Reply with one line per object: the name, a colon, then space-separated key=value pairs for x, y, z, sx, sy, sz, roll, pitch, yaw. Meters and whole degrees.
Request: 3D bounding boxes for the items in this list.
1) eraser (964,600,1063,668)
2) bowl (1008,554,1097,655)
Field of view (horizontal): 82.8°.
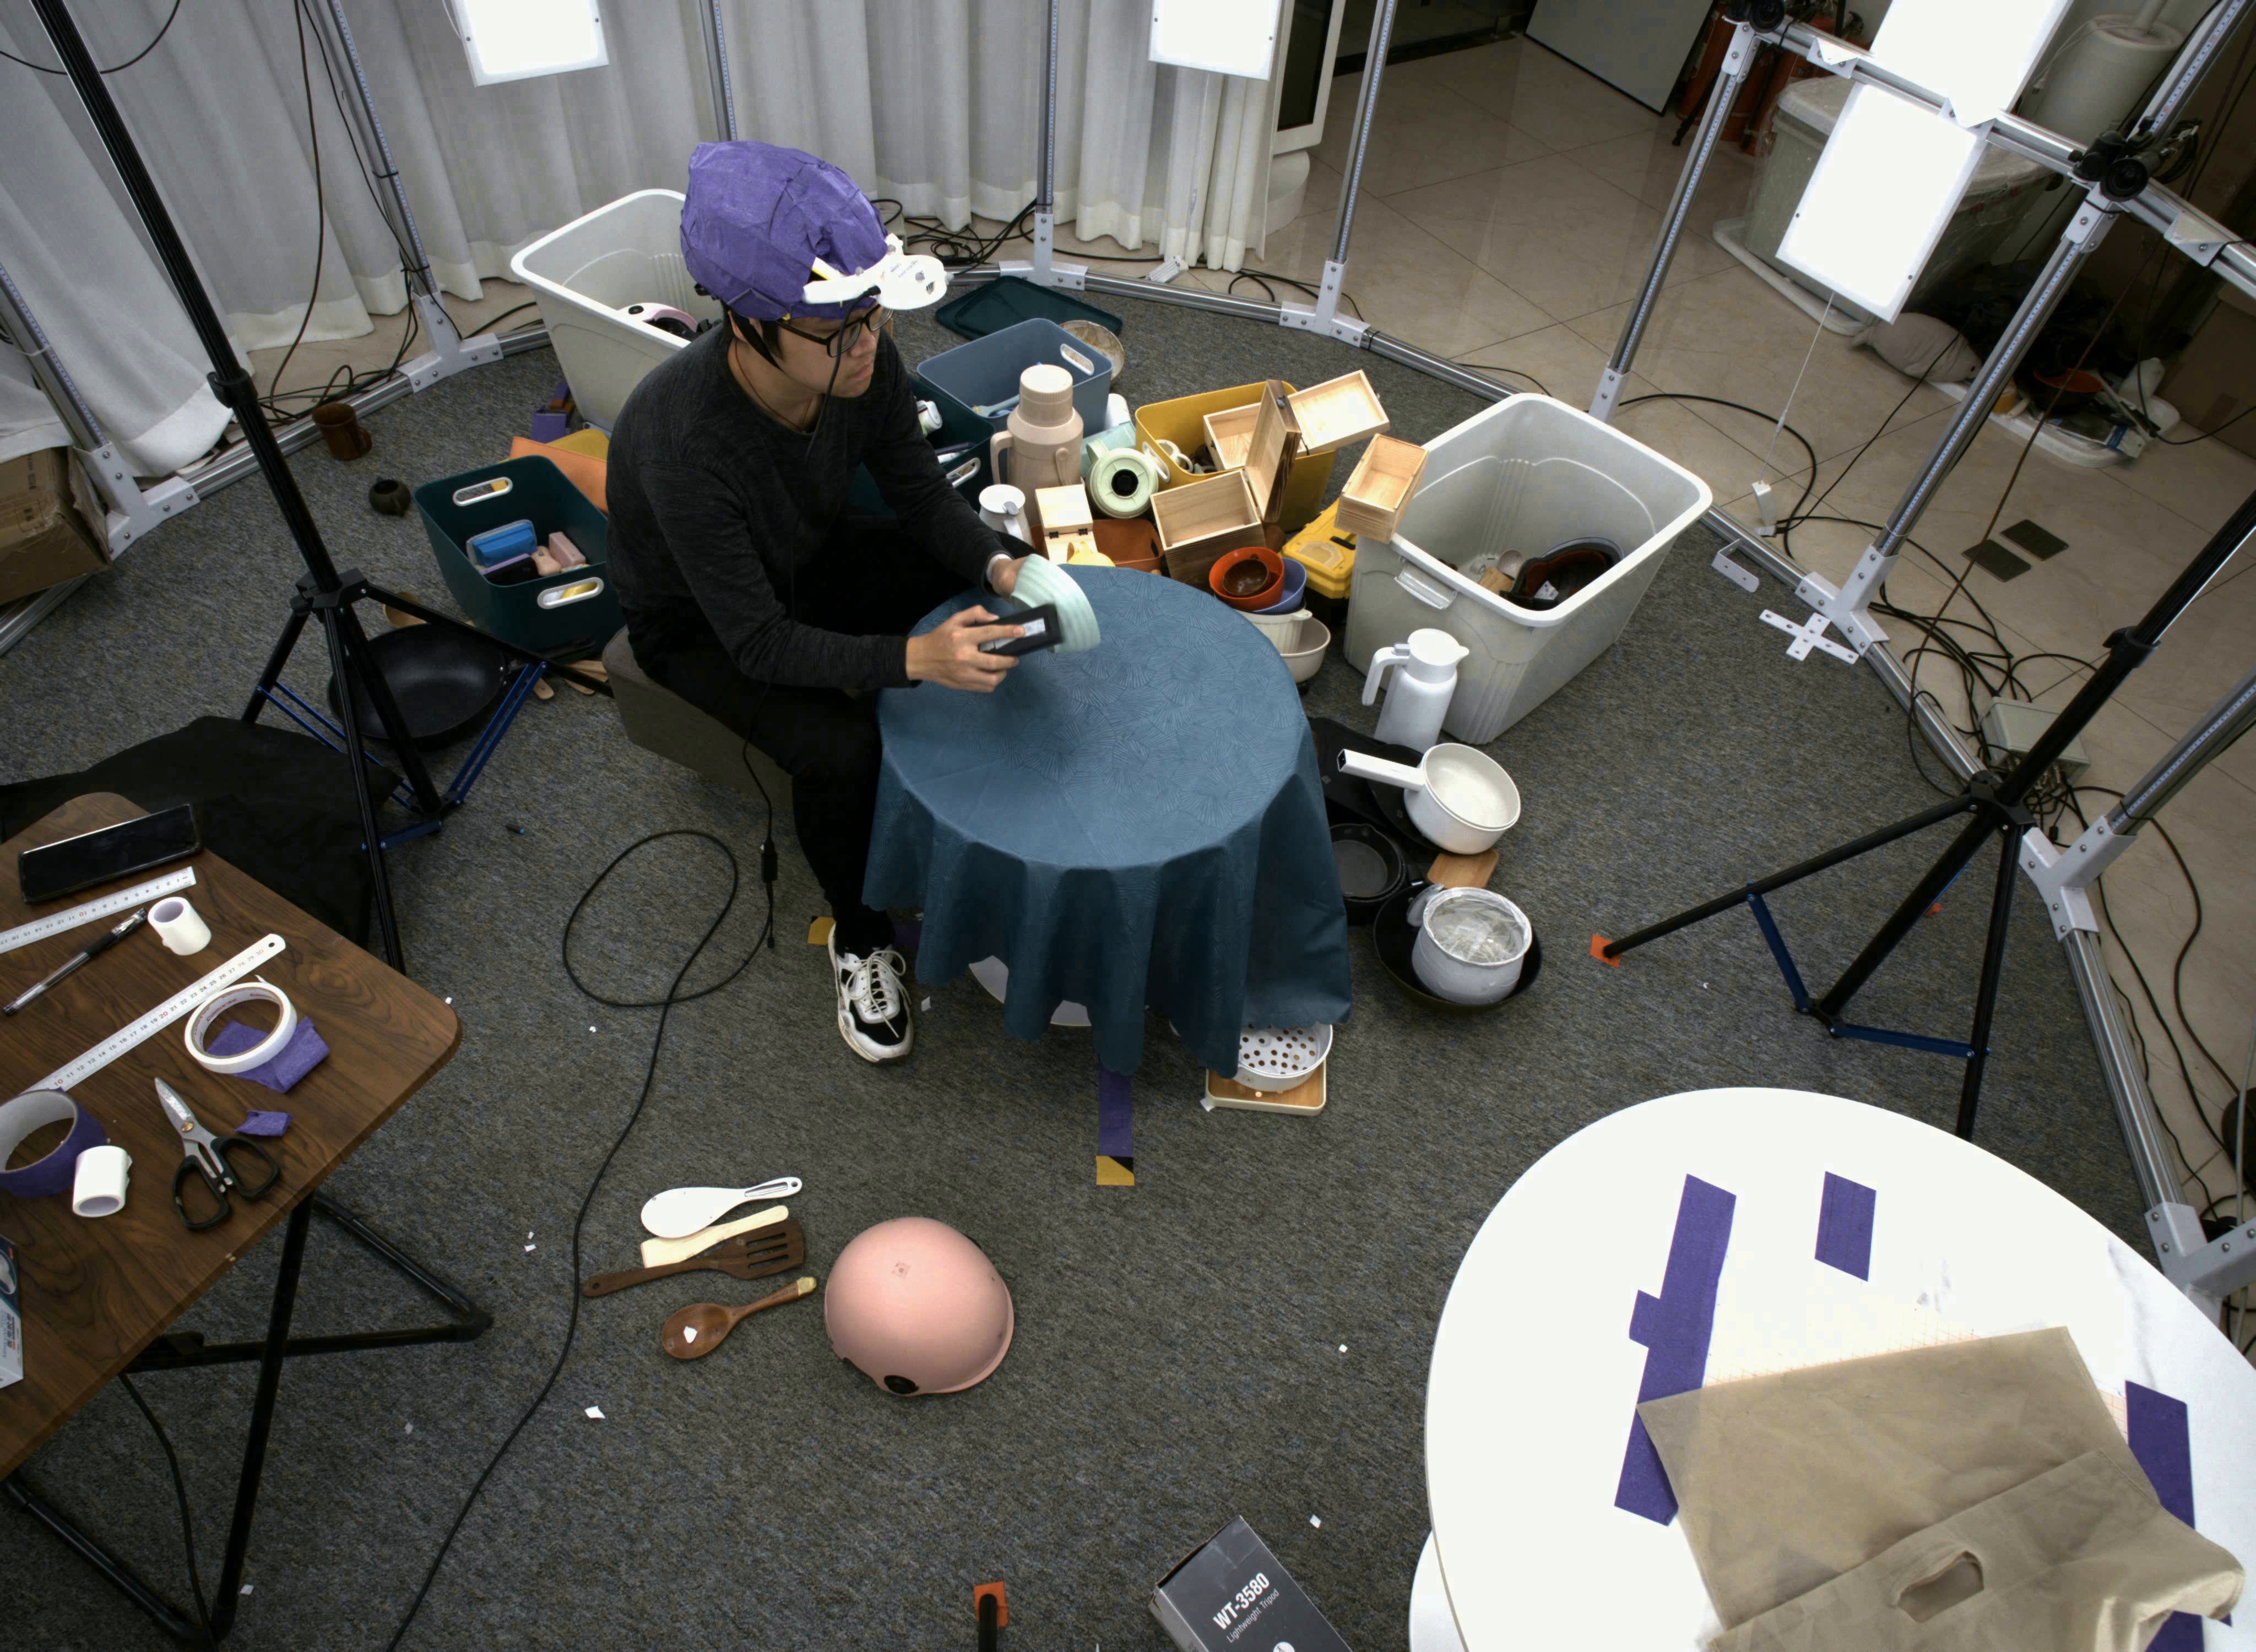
eraser: x=-0.148 y=-0.248 z=1.664 sx=0.125 sy=0.030 sz=0.054 roll=-16 pitch=85 yaw=19
bowl: x=-0.109 y=-0.285 z=1.720 sx=0.059 sy=0.148 sz=0.154 roll=-37 pitch=61 yaw=-15
